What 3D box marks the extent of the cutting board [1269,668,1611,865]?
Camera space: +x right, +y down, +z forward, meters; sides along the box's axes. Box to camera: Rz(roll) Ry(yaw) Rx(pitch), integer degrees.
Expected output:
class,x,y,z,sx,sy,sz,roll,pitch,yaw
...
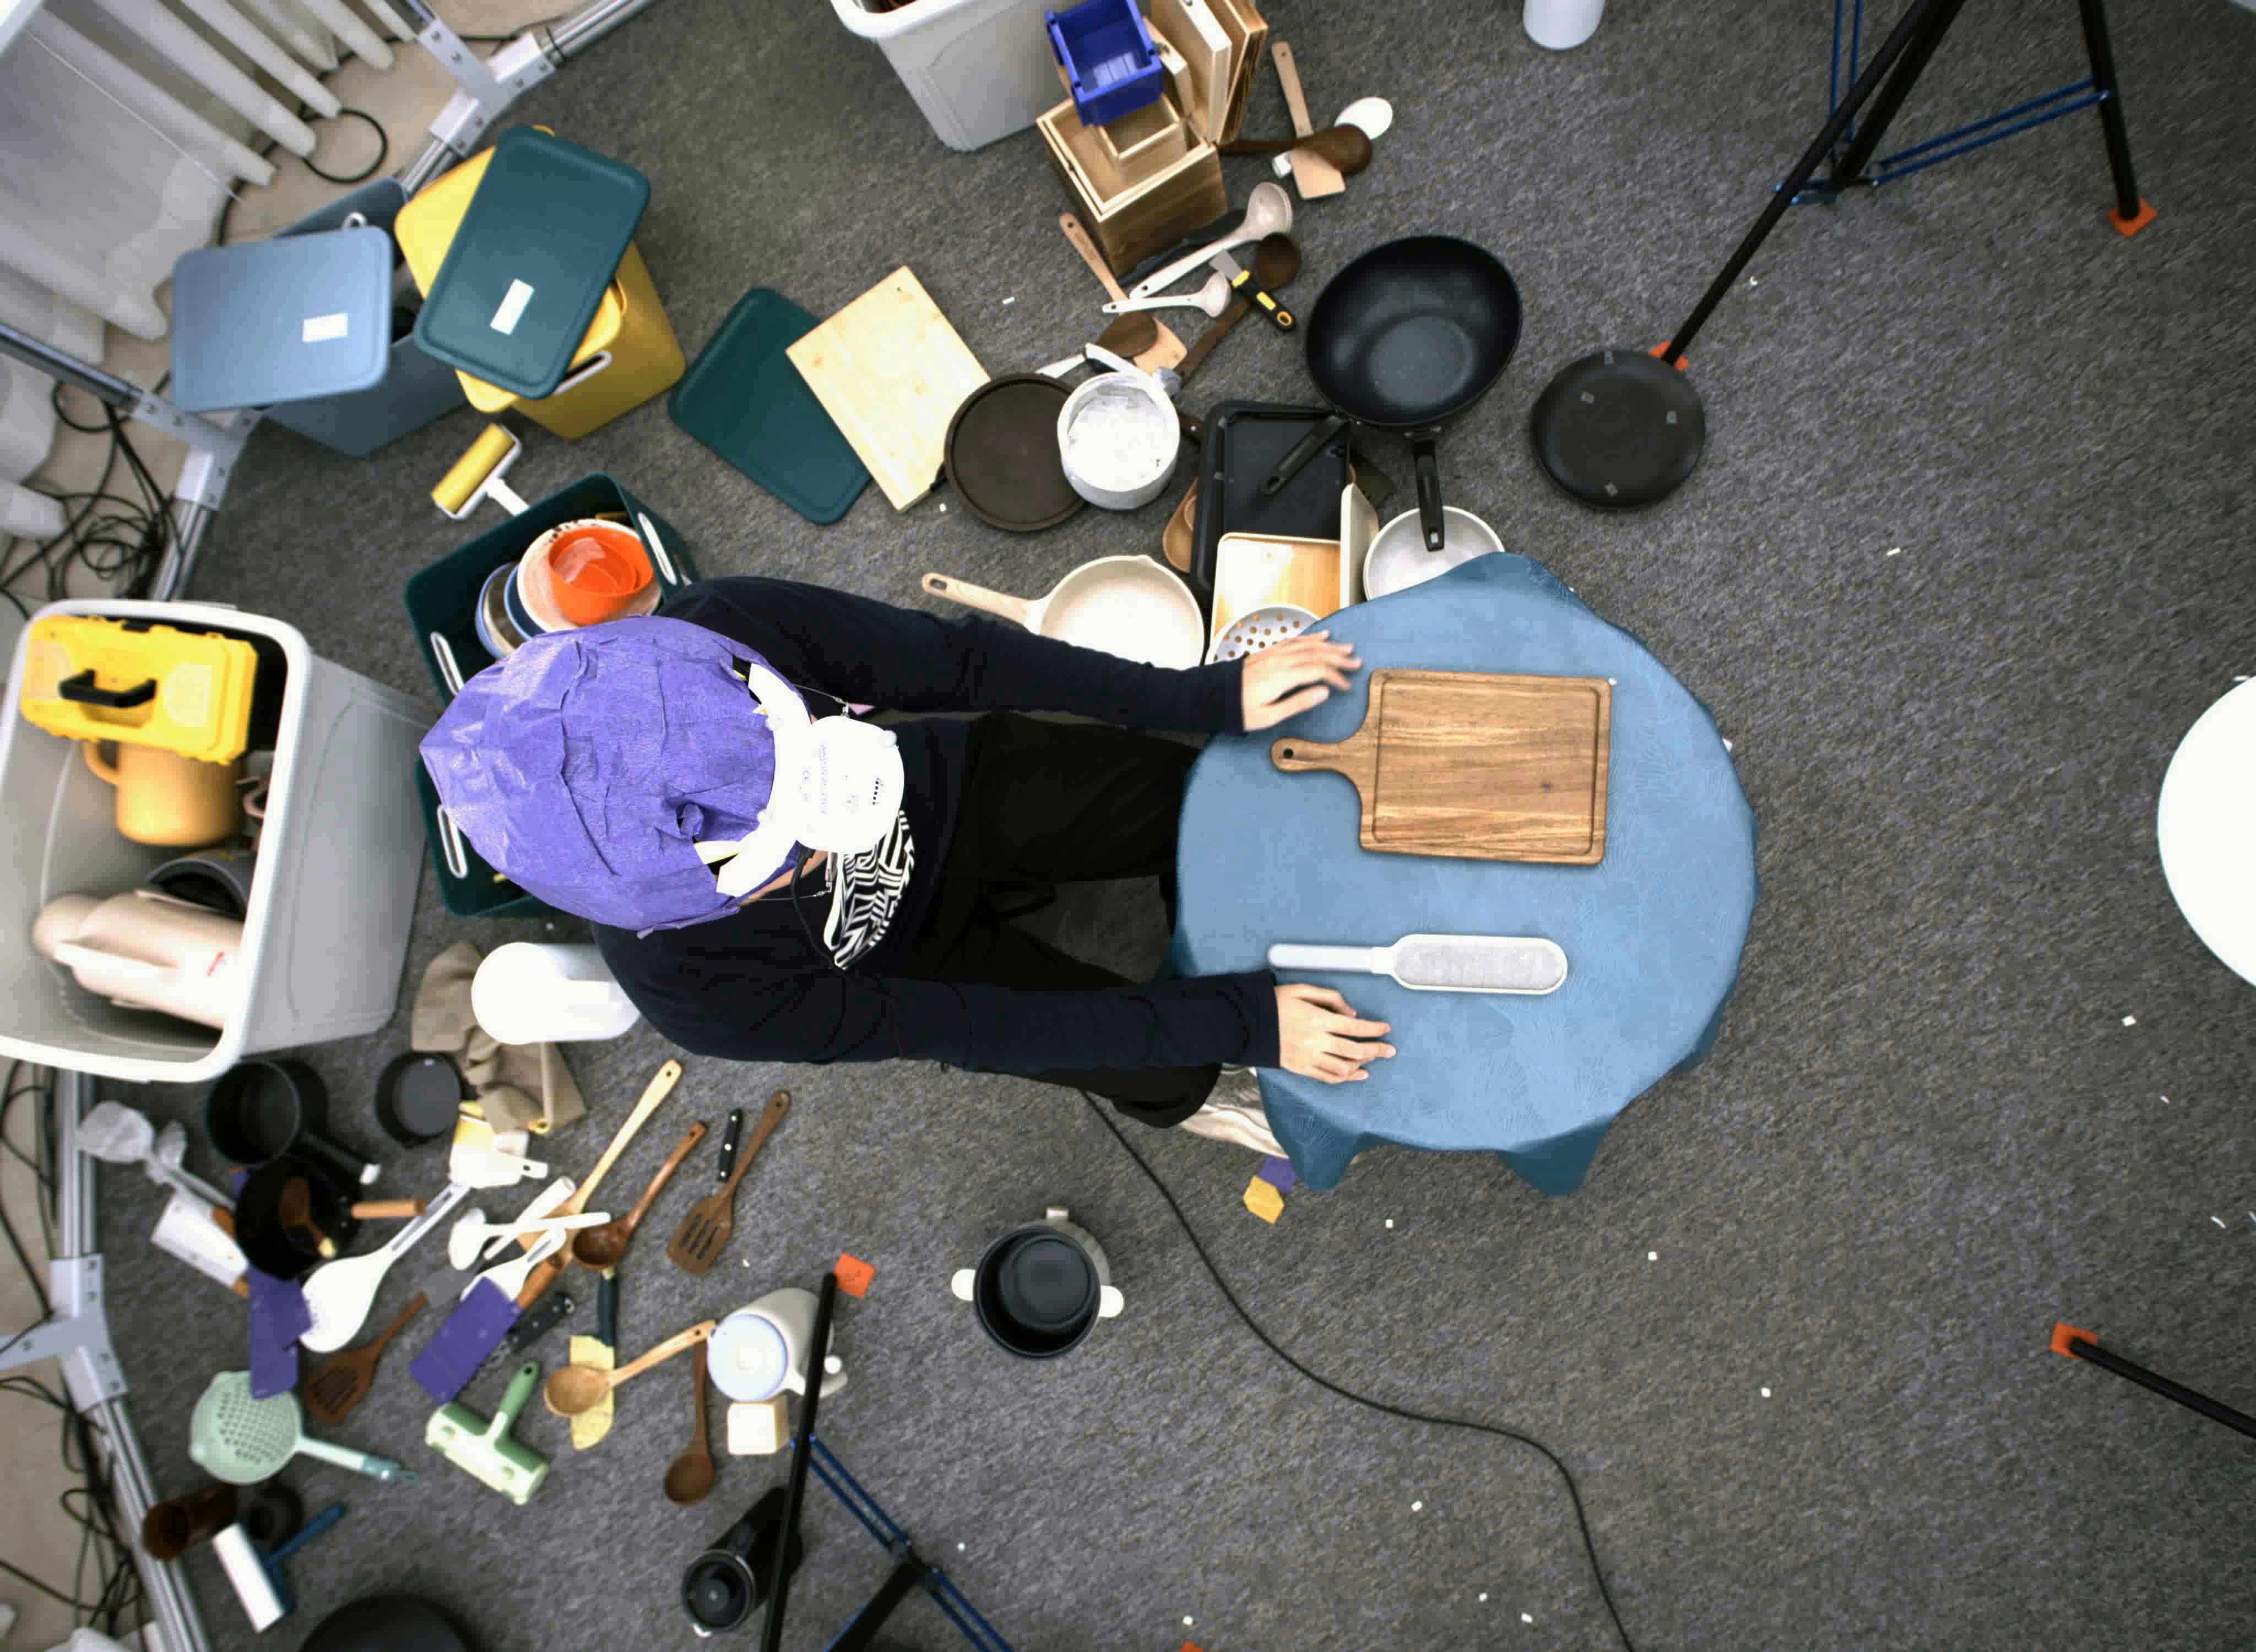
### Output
class,x,y,z,sx,sy,sz,roll,pitch,yaw
cutting board,0.324,-0.069,1.448,0.353,0.023,0.200,3,88,11

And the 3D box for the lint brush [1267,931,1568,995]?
class,x,y,z,sx,sy,sz,roll,pitch,yaw
lint brush,0.299,0.138,1.437,0.310,0.021,0.060,2,92,11
